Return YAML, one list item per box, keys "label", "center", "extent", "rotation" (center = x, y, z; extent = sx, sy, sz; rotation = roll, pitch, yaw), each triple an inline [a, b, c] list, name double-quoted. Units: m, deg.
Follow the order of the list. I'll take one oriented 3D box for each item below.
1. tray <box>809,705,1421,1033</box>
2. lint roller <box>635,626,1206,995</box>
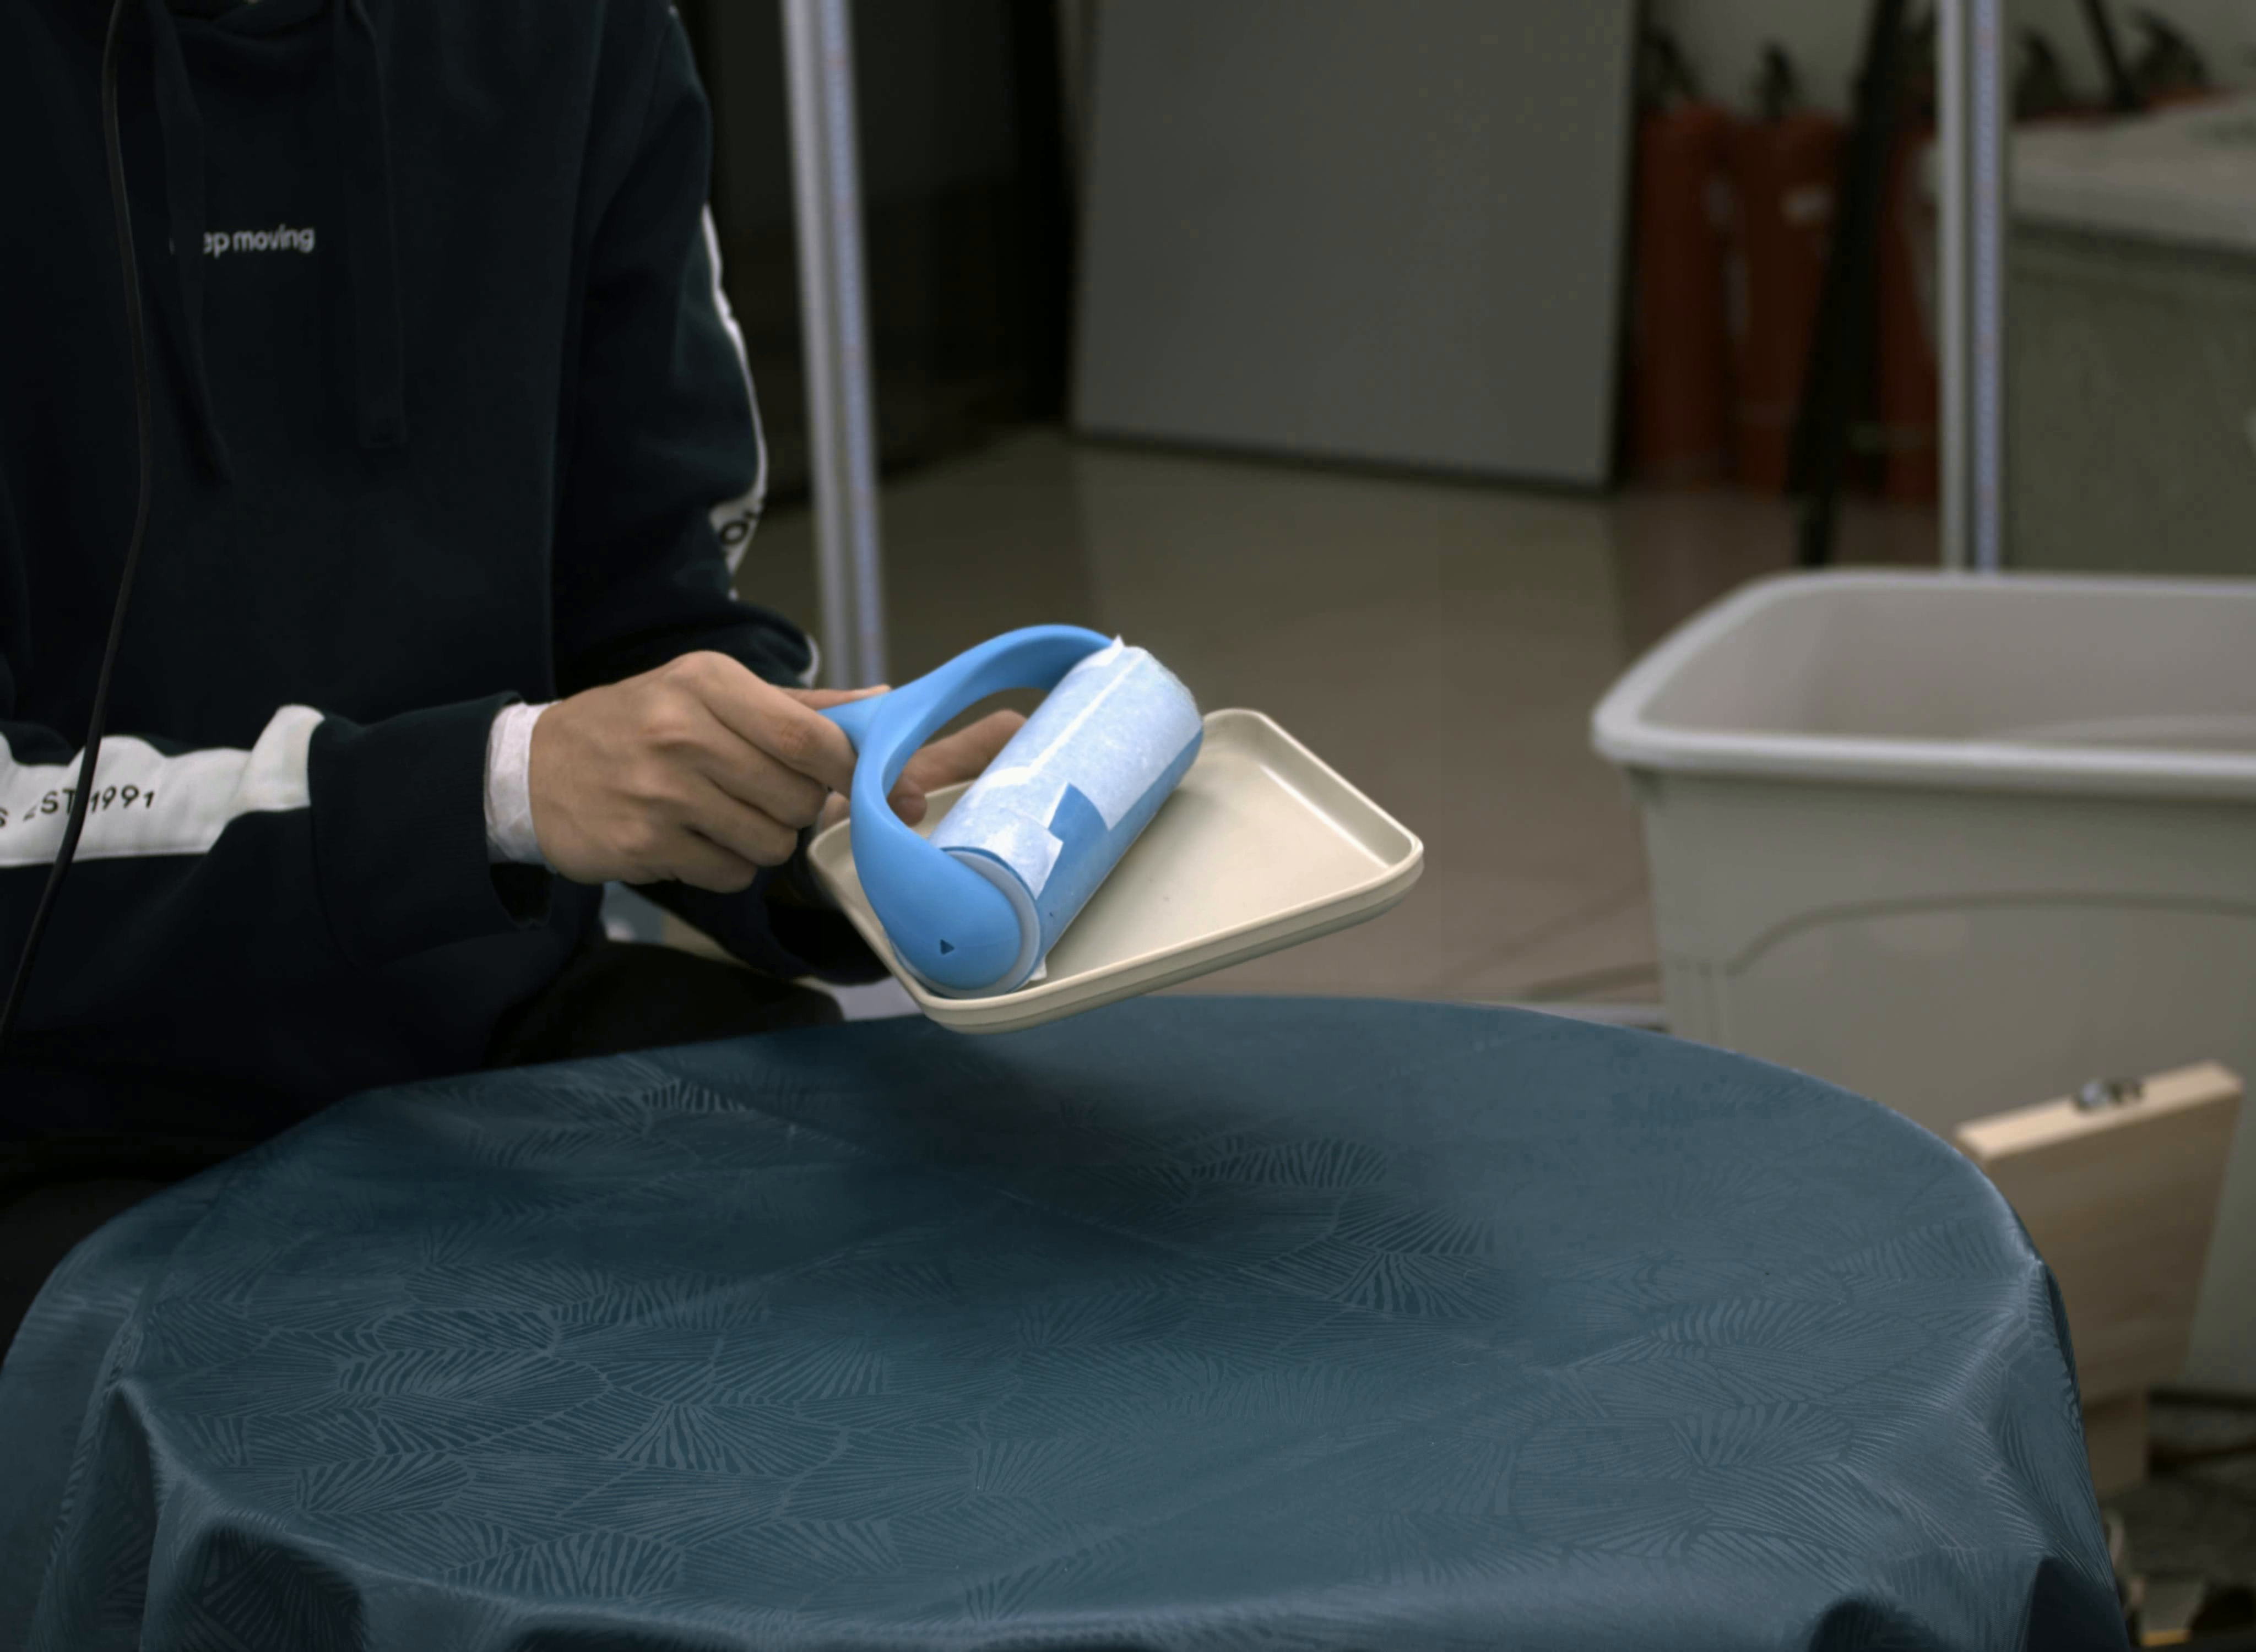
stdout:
- label: "tray"
  center: [-0.007, 0.013, 1.778]
  extent: [0.169, 0.017, 0.241]
  rotation: [-19, 17, -9]
- label: "lint roller"
  center: [-0.081, -0.009, 1.788]
  extent: [0.179, 0.068, 0.228]
  rotation: [3, 22, 13]
